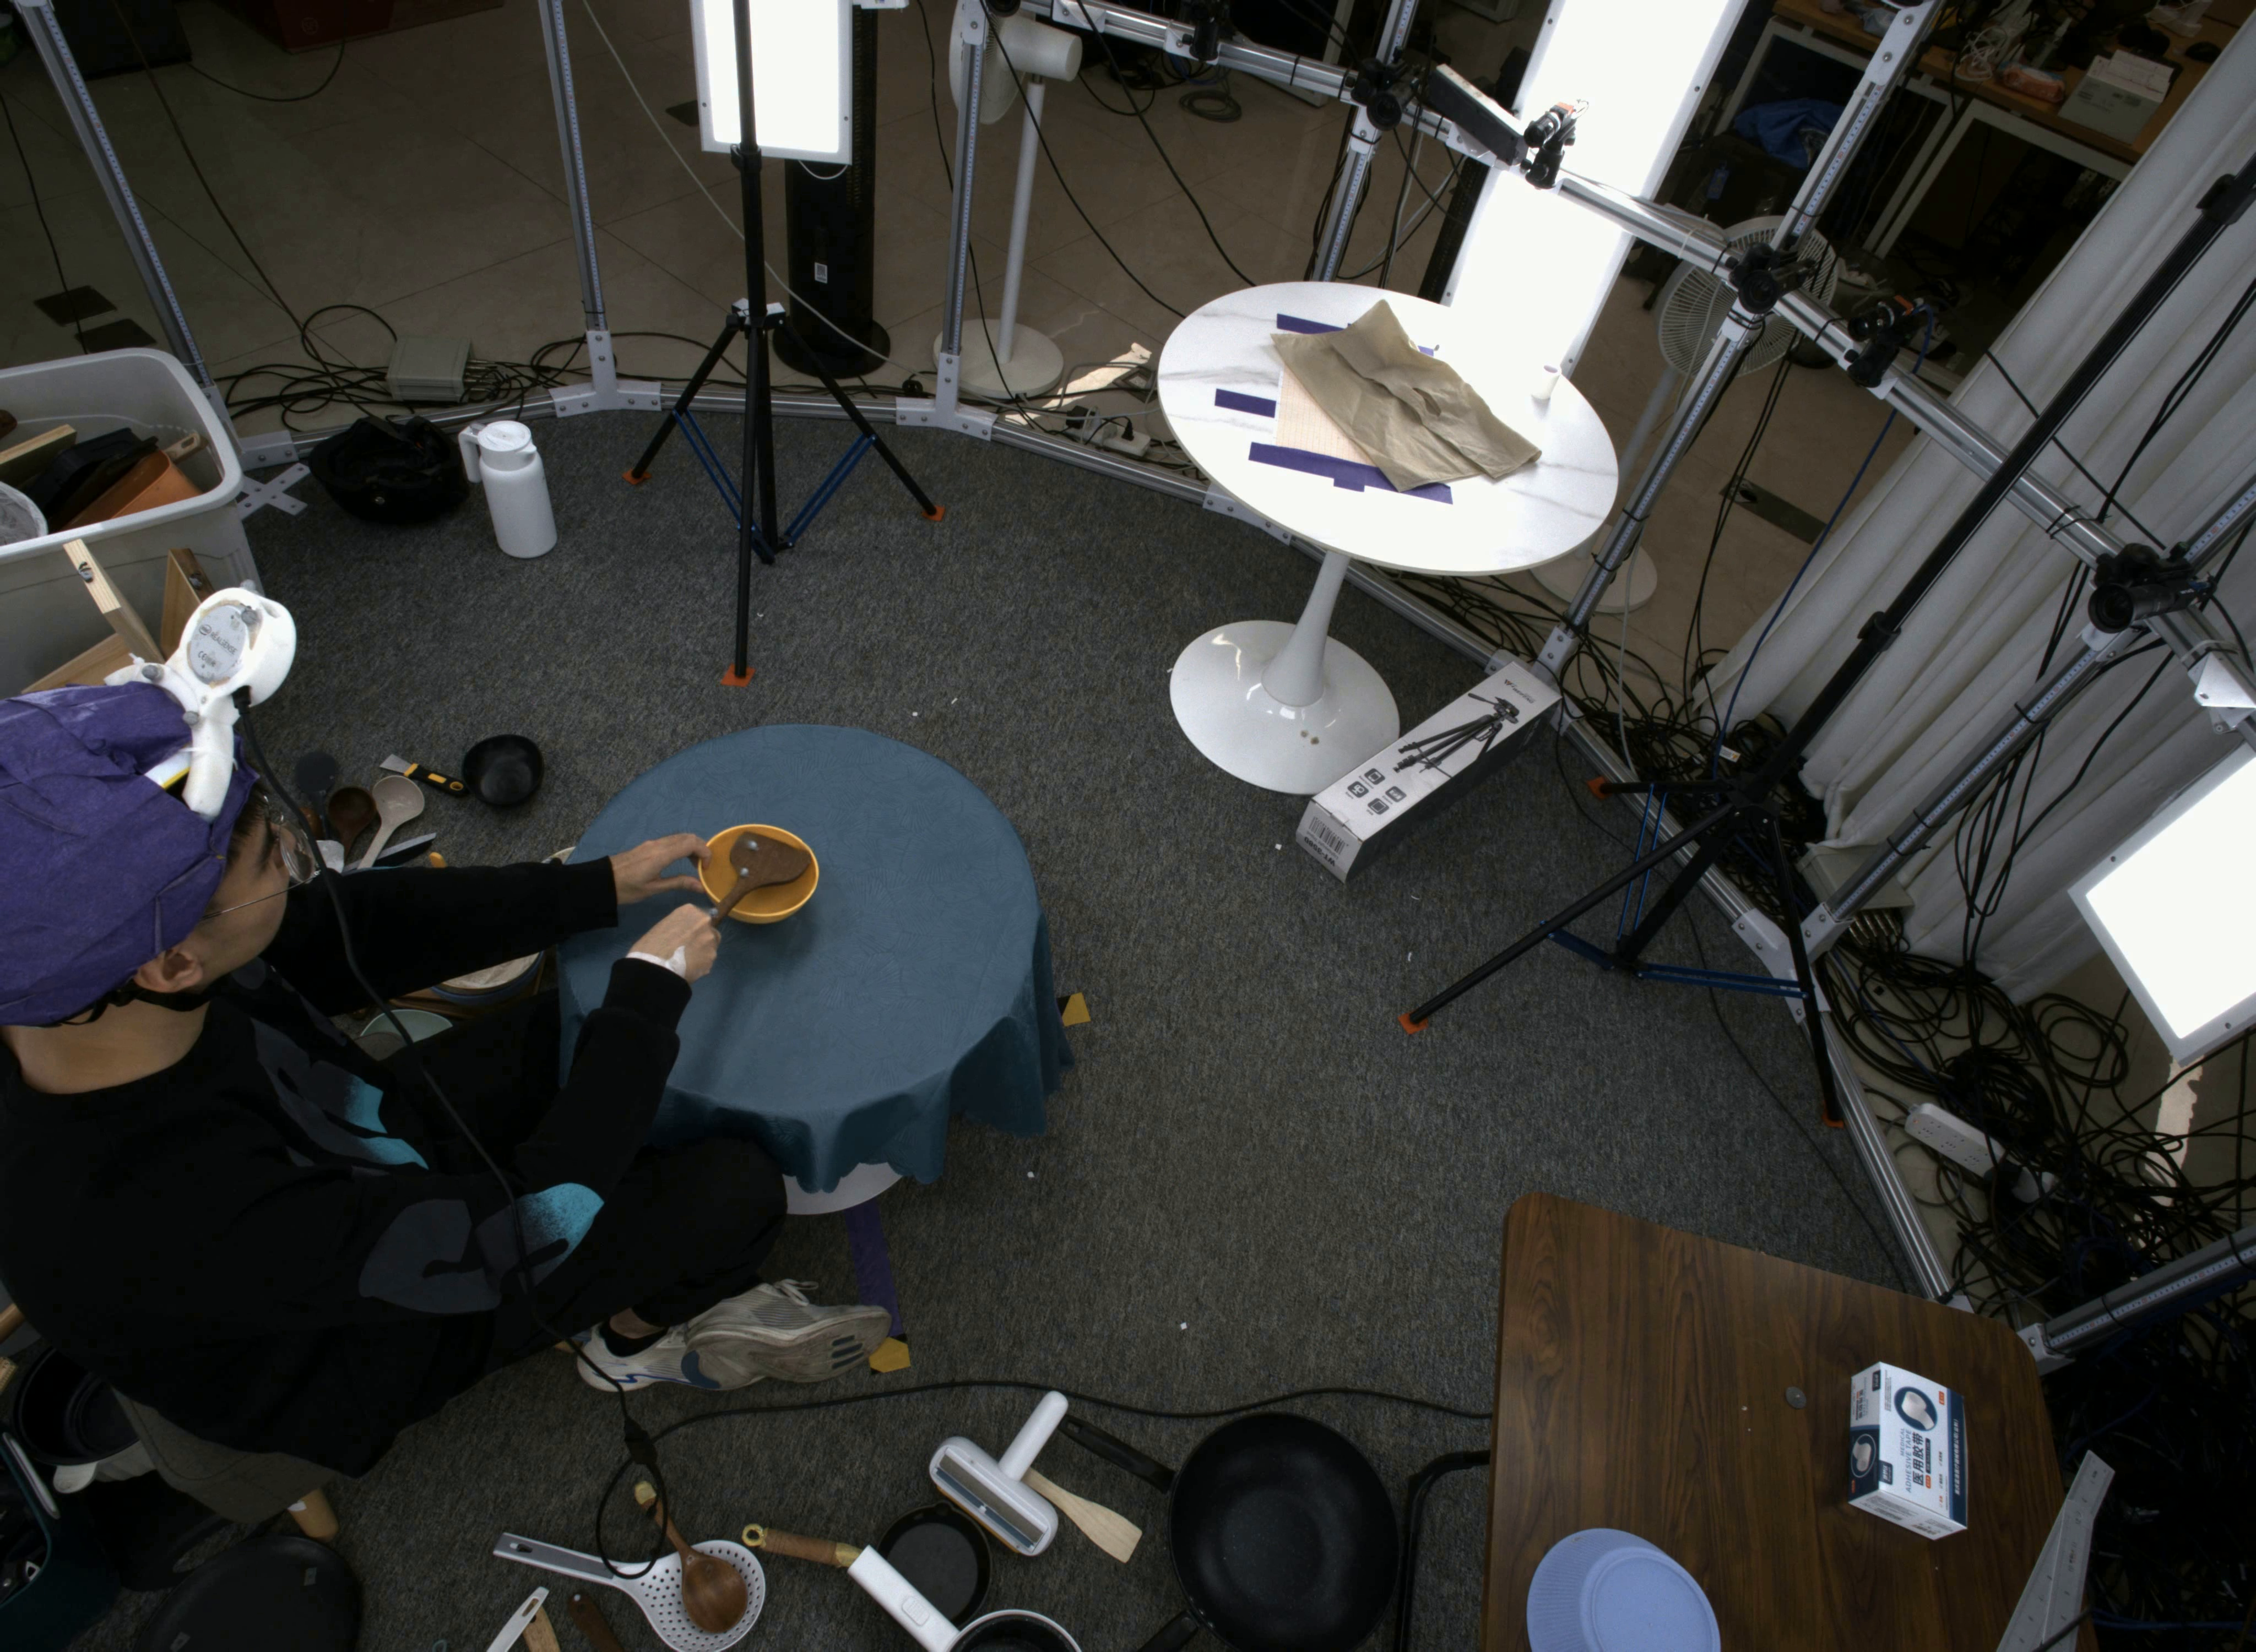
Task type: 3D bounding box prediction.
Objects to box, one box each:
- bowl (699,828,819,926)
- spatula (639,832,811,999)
[{"bbox_3d":[-0.457,0.073,1.604,0.145,0.061,0.142,12,45,-11],"label":"bowl"},{"bbox_3d":[-0.461,0.093,1.460,0.096,0.016,0.381,23,23,-3],"label":"spatula"}]
